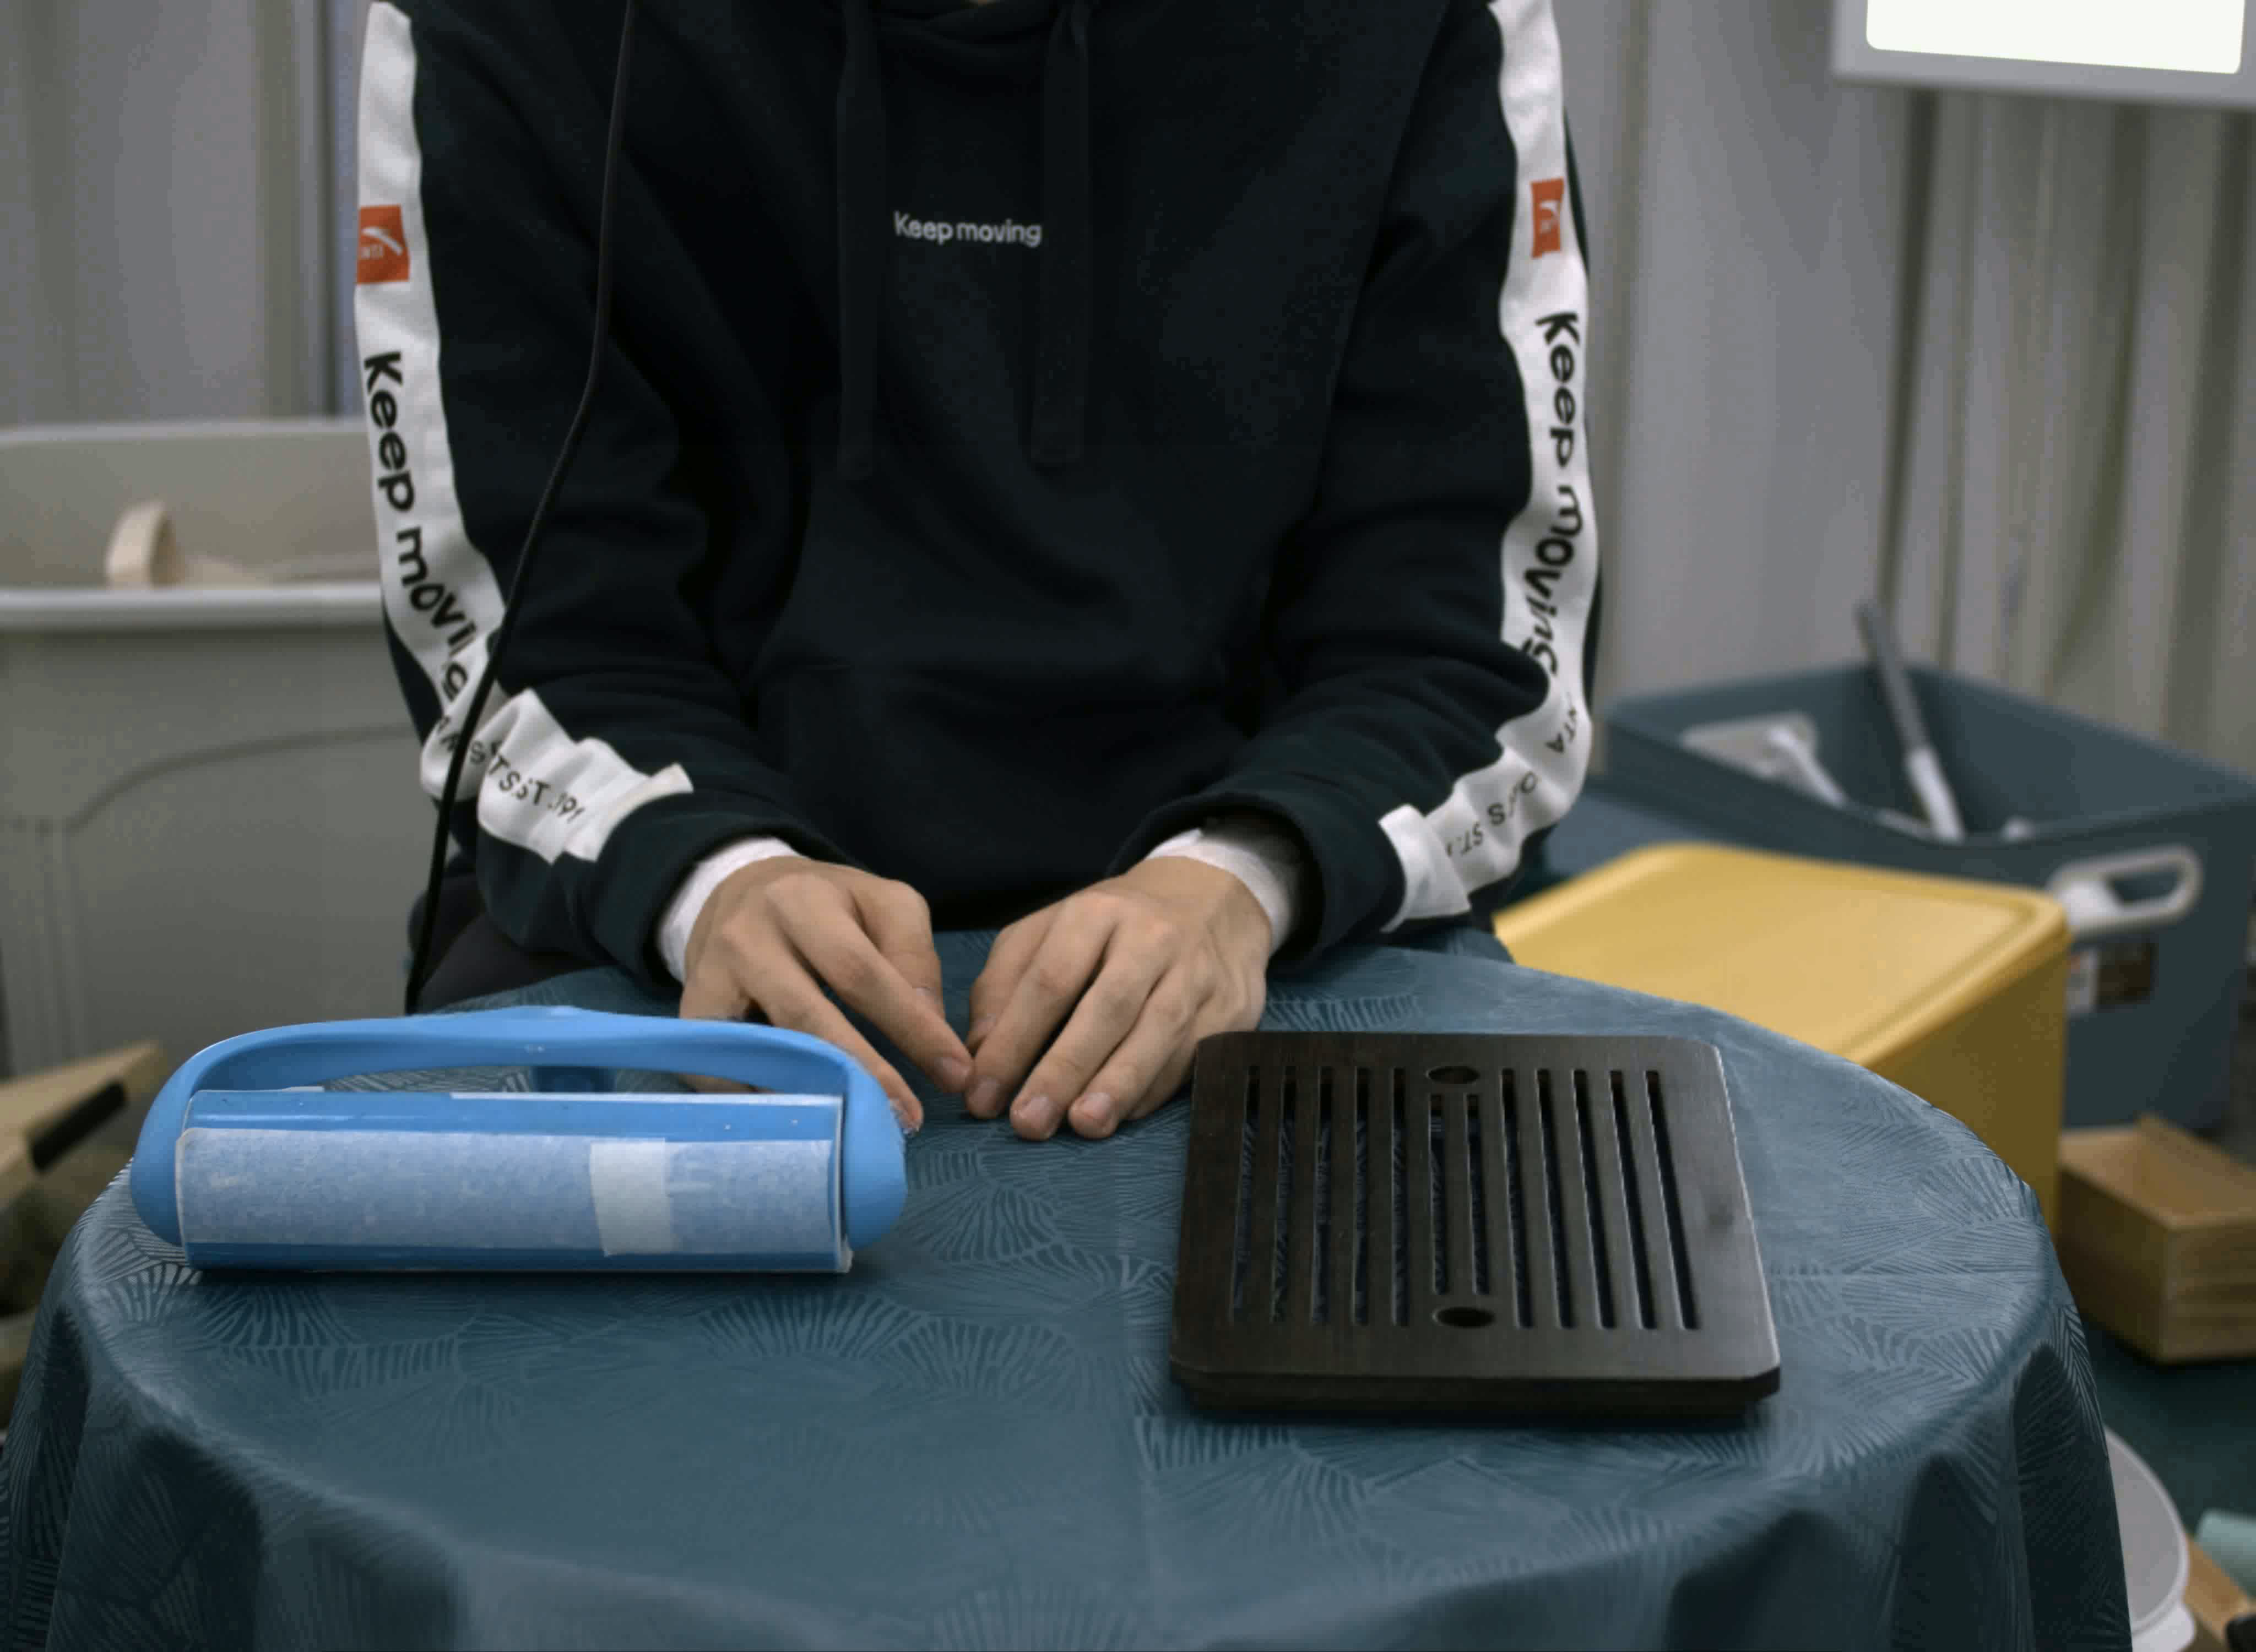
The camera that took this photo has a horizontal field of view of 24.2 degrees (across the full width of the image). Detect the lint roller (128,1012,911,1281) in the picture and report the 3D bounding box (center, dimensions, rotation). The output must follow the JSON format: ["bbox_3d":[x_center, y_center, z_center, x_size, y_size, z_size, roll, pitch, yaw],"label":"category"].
[{"bbox_3d":[-0.180,0.087,1.598,0.228,0.068,0.179,-2,17,-2],"label":"lint roller"}]

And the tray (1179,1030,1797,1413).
[{"bbox_3d":[0.103,0.116,1.576,0.169,0.019,0.304,1,15,2],"label":"tray"}]
